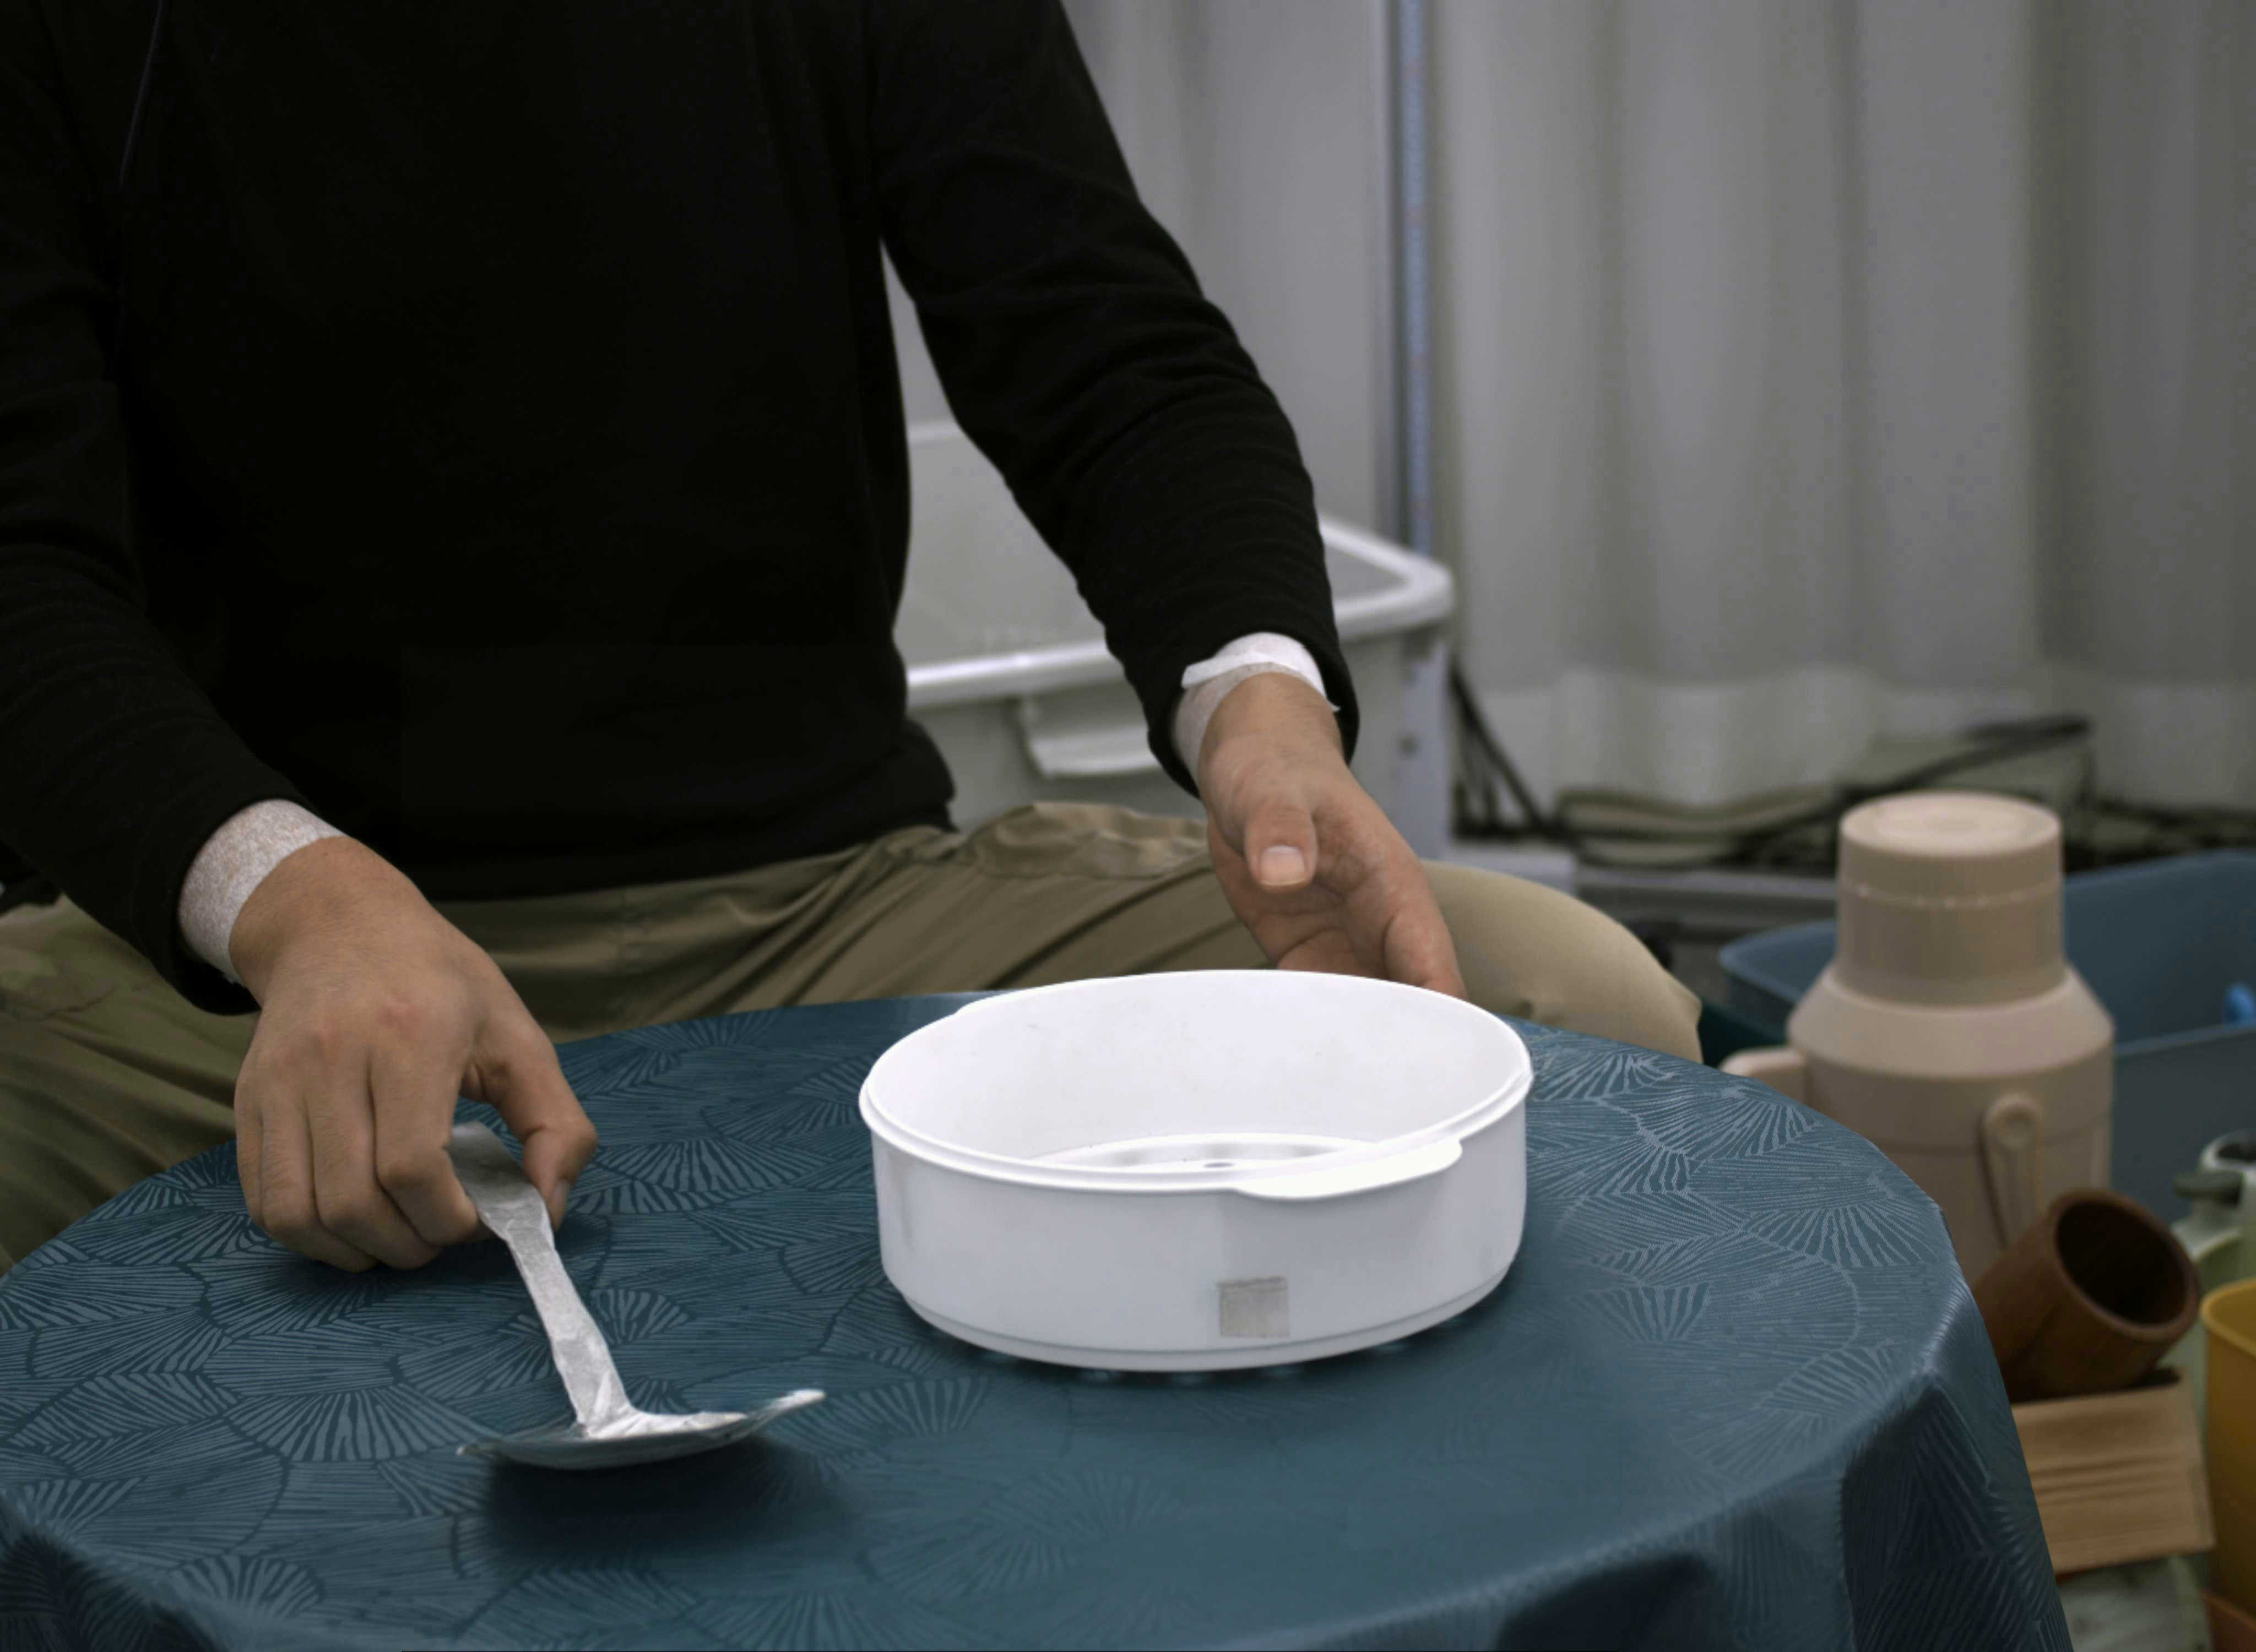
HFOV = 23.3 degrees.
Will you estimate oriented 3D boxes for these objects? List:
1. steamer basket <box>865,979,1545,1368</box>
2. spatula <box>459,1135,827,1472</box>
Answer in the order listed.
[{"bbox_3d":[0.024,0.103,1.620,0.201,0.069,0.232,-8,15,-24],"label":"steamer basket"},{"bbox_3d":[-0.166,0.131,1.607,0.098,0.044,0.368,-9,16,-13],"label":"spatula"}]
